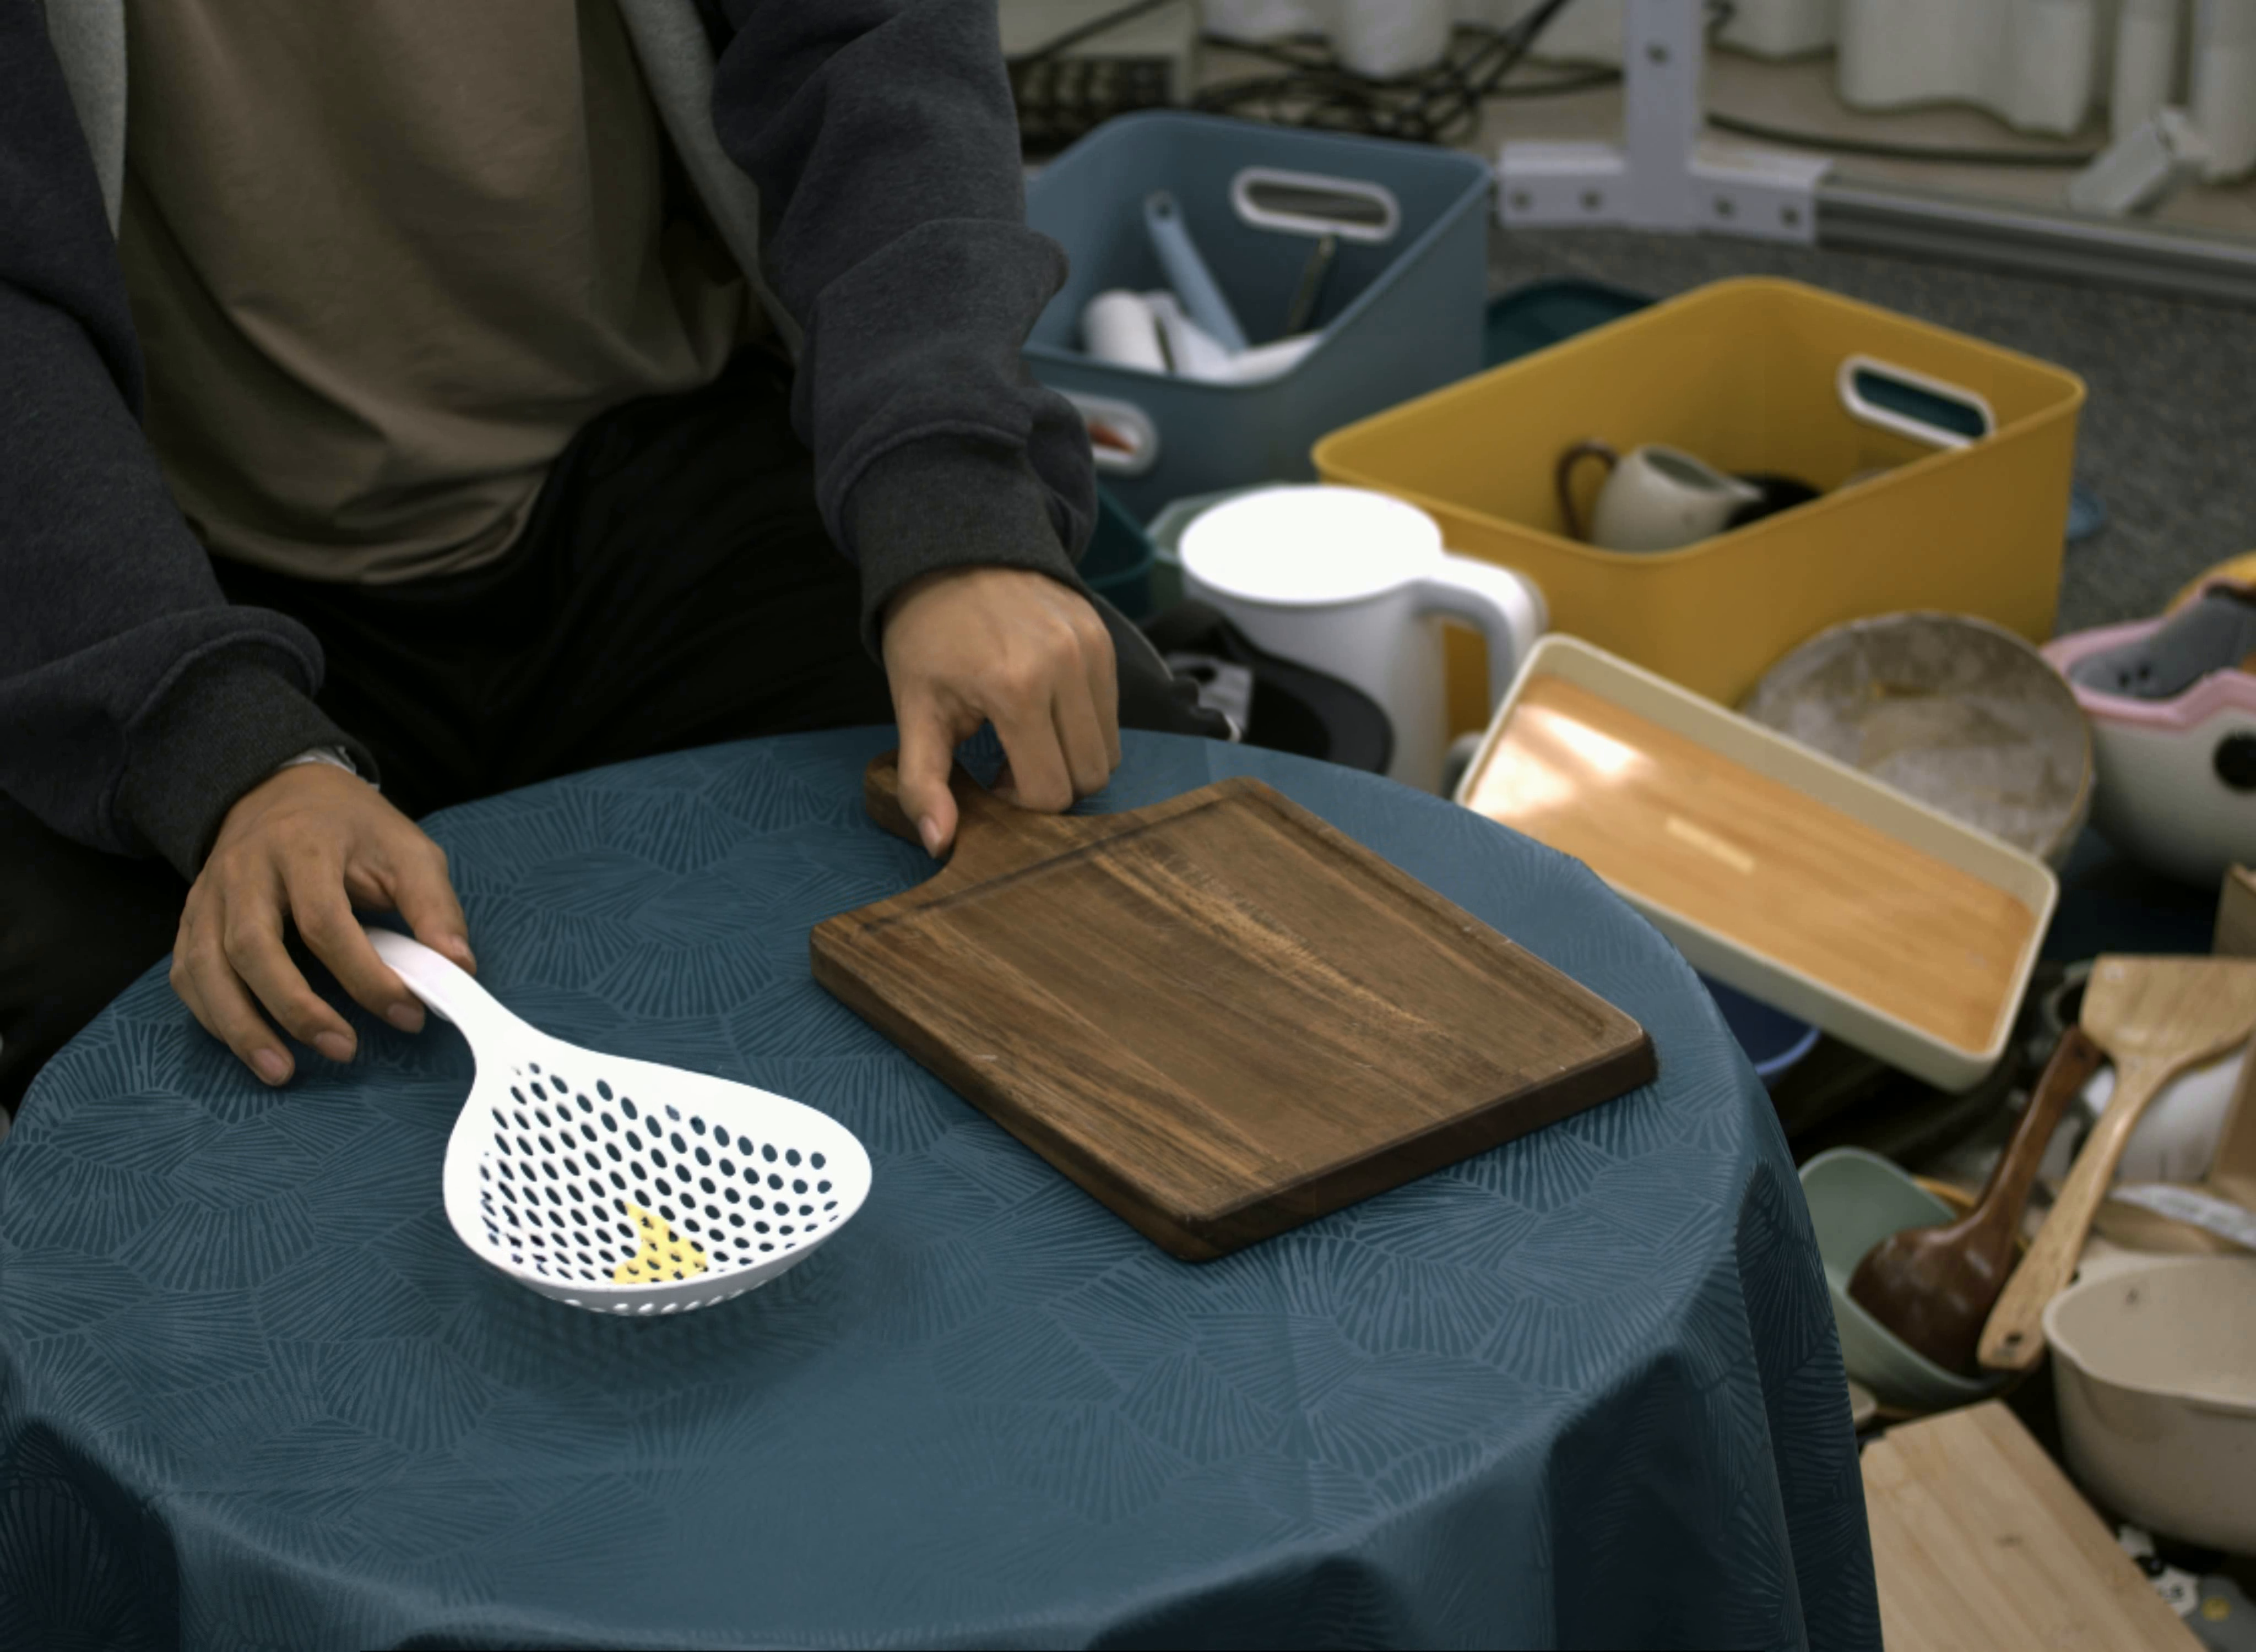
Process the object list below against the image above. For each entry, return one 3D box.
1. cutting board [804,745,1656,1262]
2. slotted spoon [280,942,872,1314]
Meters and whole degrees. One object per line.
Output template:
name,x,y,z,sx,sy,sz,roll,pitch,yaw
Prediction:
cutting board,0.005,0.043,1.990,0.202,0.023,0.353,-19,32,-29
slotted spoon,-0.207,0.089,1.901,0.138,0.050,0.349,-18,31,-26
